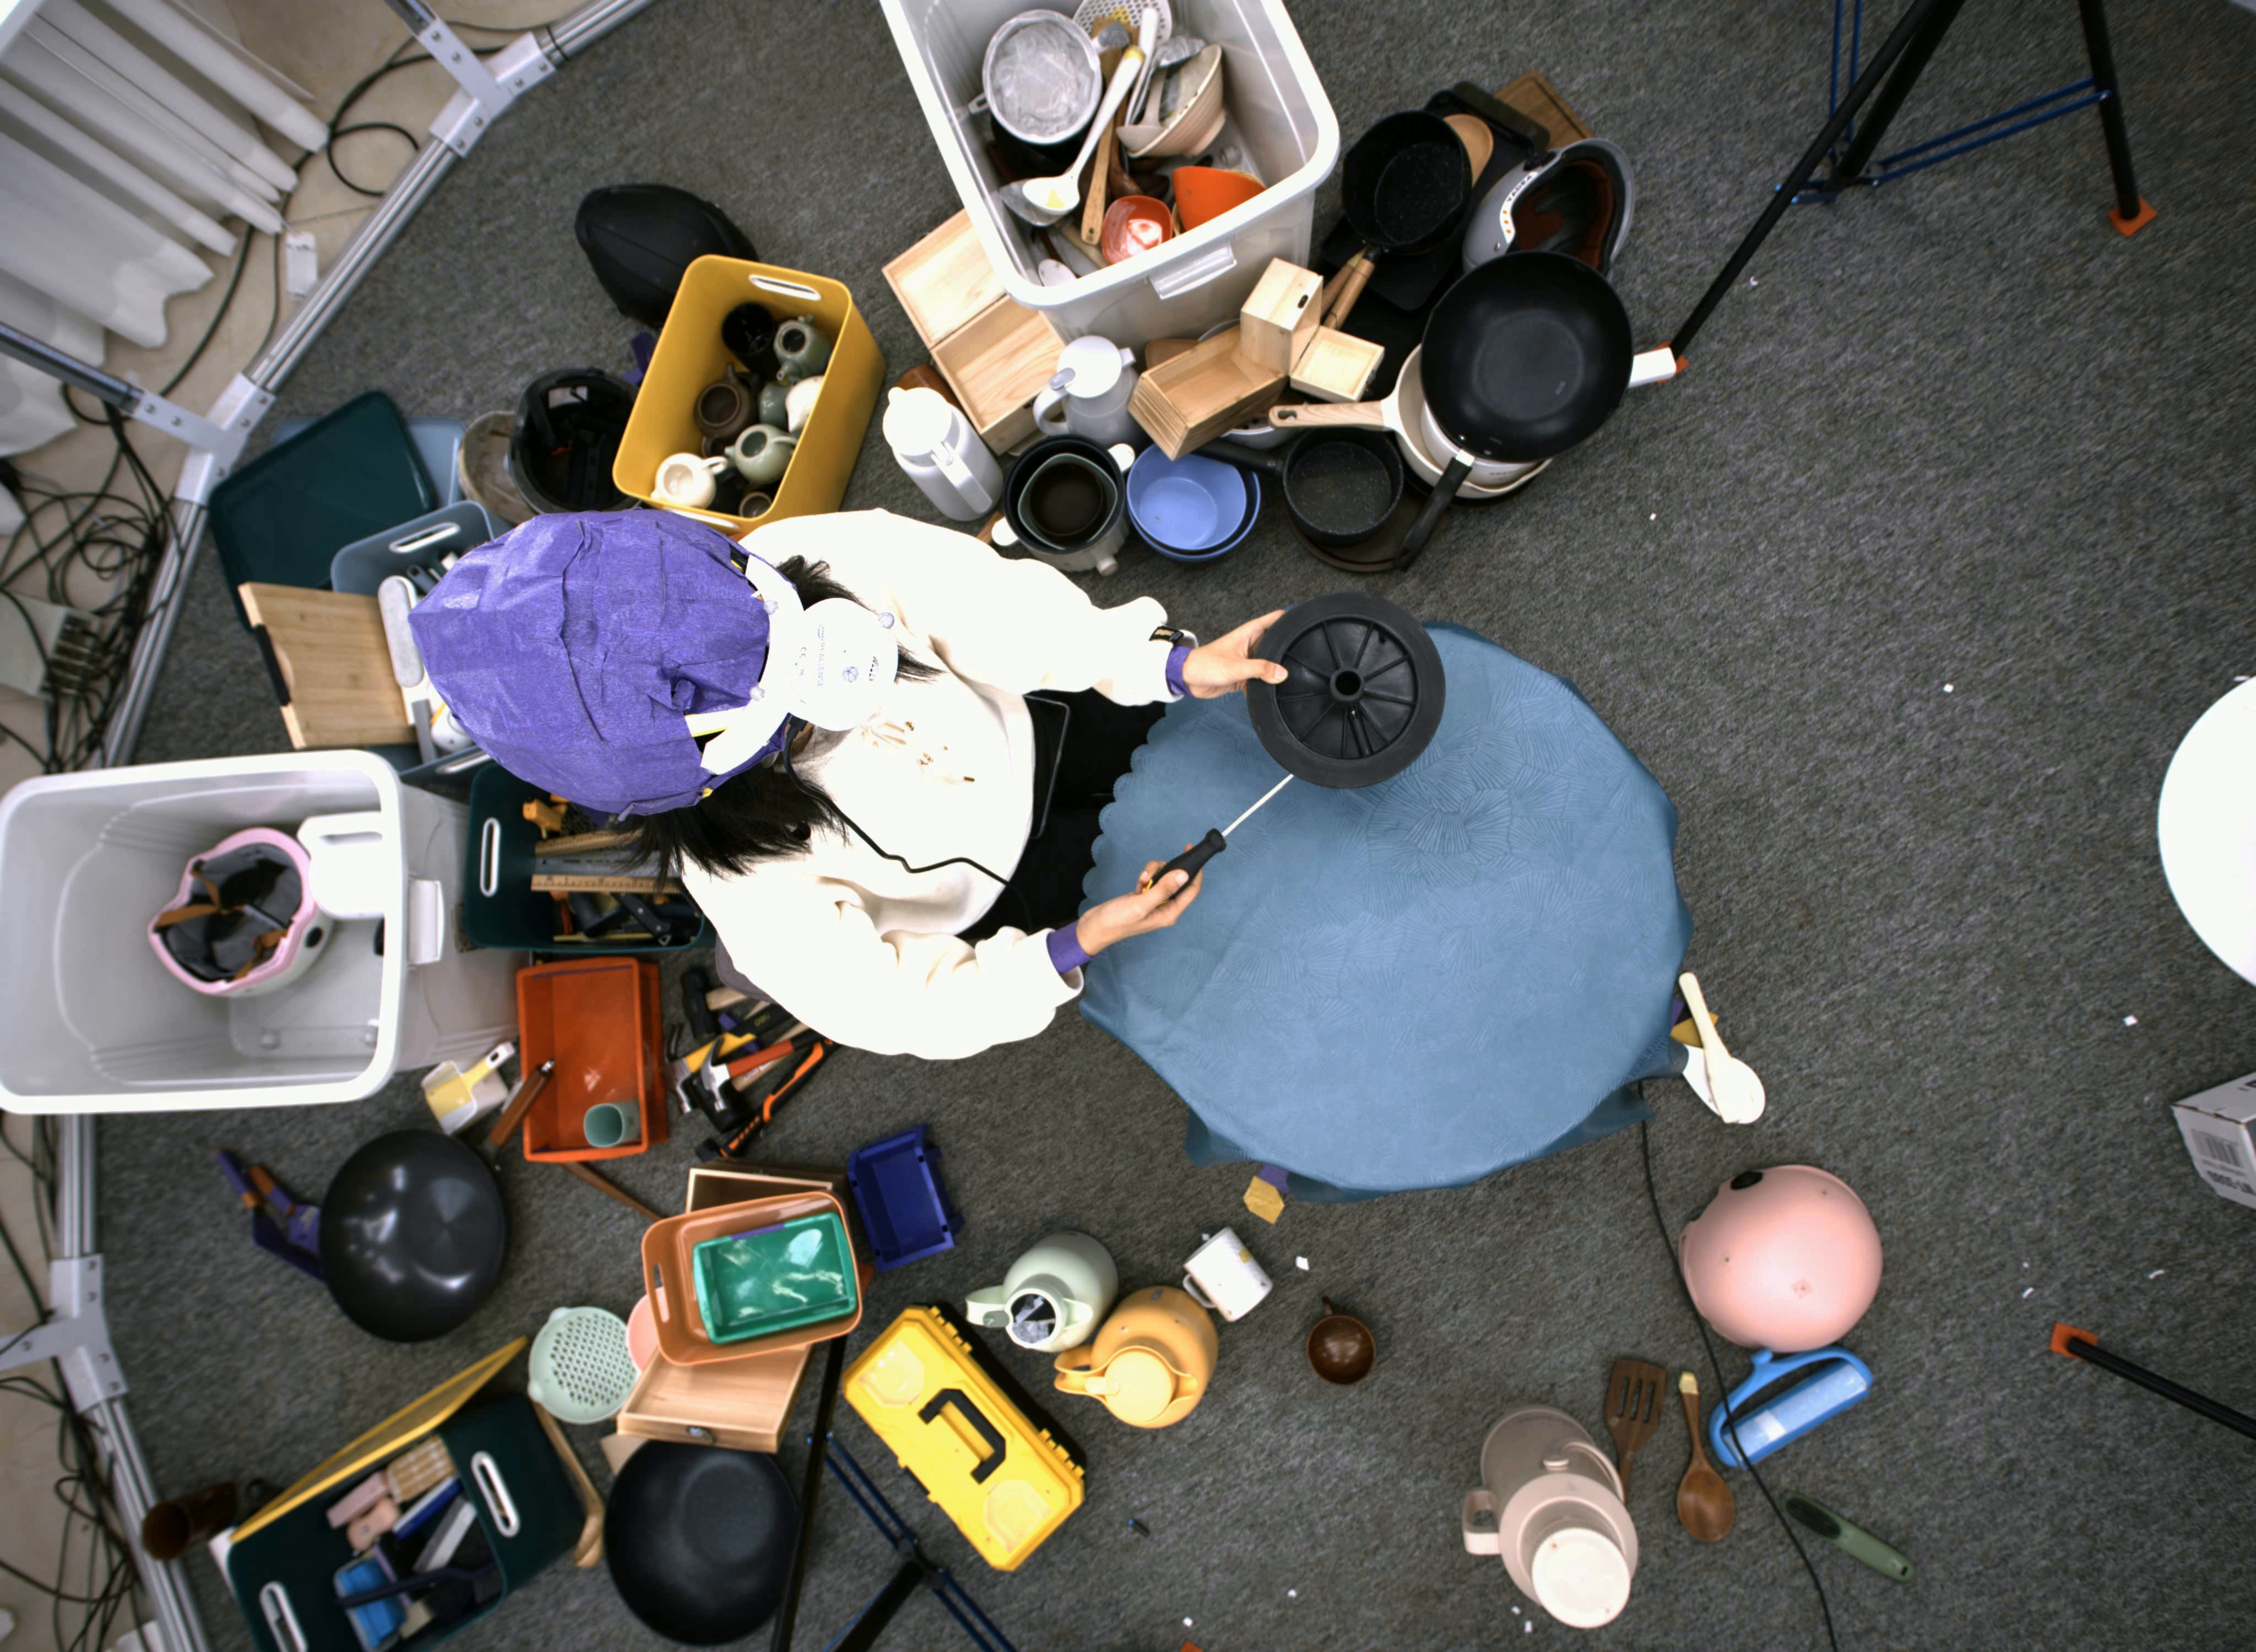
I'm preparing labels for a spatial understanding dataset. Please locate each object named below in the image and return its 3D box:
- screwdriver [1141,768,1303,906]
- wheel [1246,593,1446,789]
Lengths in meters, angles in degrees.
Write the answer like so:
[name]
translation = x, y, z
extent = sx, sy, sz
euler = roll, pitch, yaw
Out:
[screwdriver]
translation = 0.091, 0.008, 1.328
extent = 0.199, 0.031, 0.031
euler = -41, 80, 10
[wheel]
translation = 0.206, -0.129, 1.291
extent = 0.188, 0.079, 0.190
euler = -41, 89, 7
